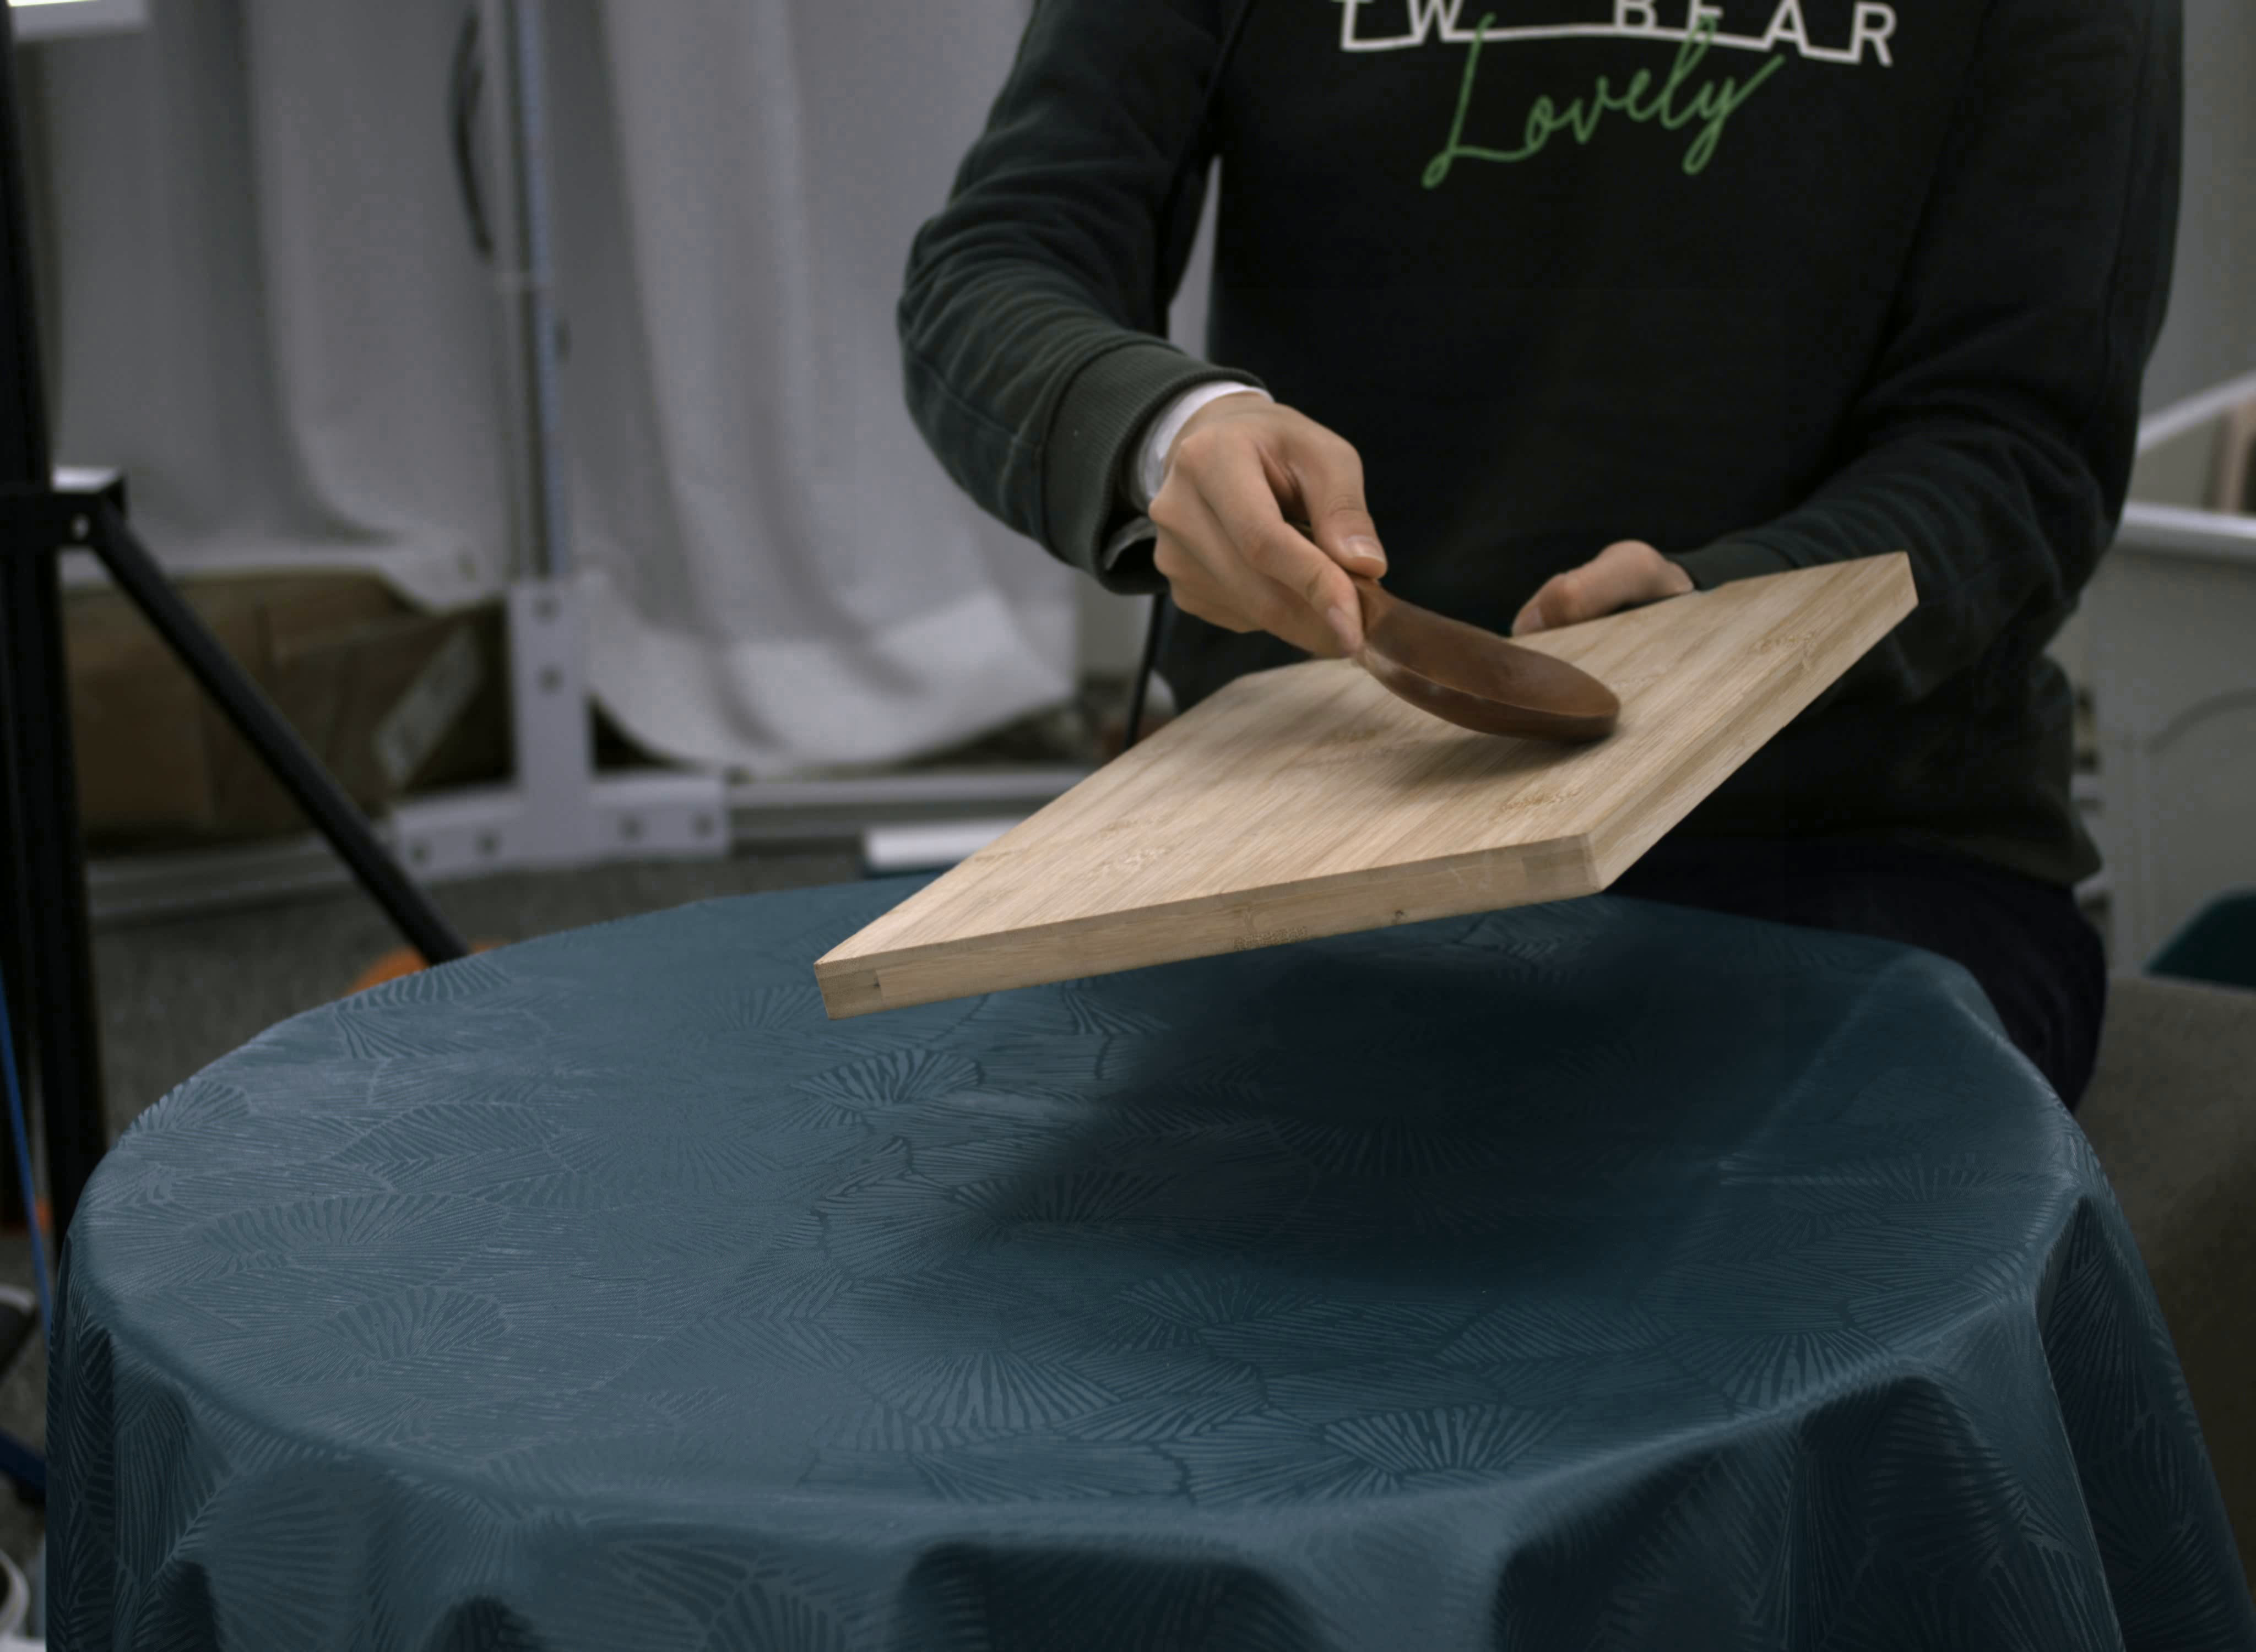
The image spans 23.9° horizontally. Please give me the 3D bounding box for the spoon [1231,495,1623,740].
[{"bbox_3d":[0.080,-0.061,1.596,0.074,0.017,0.220,4,18,-23],"label":"spoon"}]

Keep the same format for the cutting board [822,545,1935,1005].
[{"bbox_3d":[0.085,-0.017,1.611,0.254,0.023,0.344,-10,12,25],"label":"cutting board"}]
